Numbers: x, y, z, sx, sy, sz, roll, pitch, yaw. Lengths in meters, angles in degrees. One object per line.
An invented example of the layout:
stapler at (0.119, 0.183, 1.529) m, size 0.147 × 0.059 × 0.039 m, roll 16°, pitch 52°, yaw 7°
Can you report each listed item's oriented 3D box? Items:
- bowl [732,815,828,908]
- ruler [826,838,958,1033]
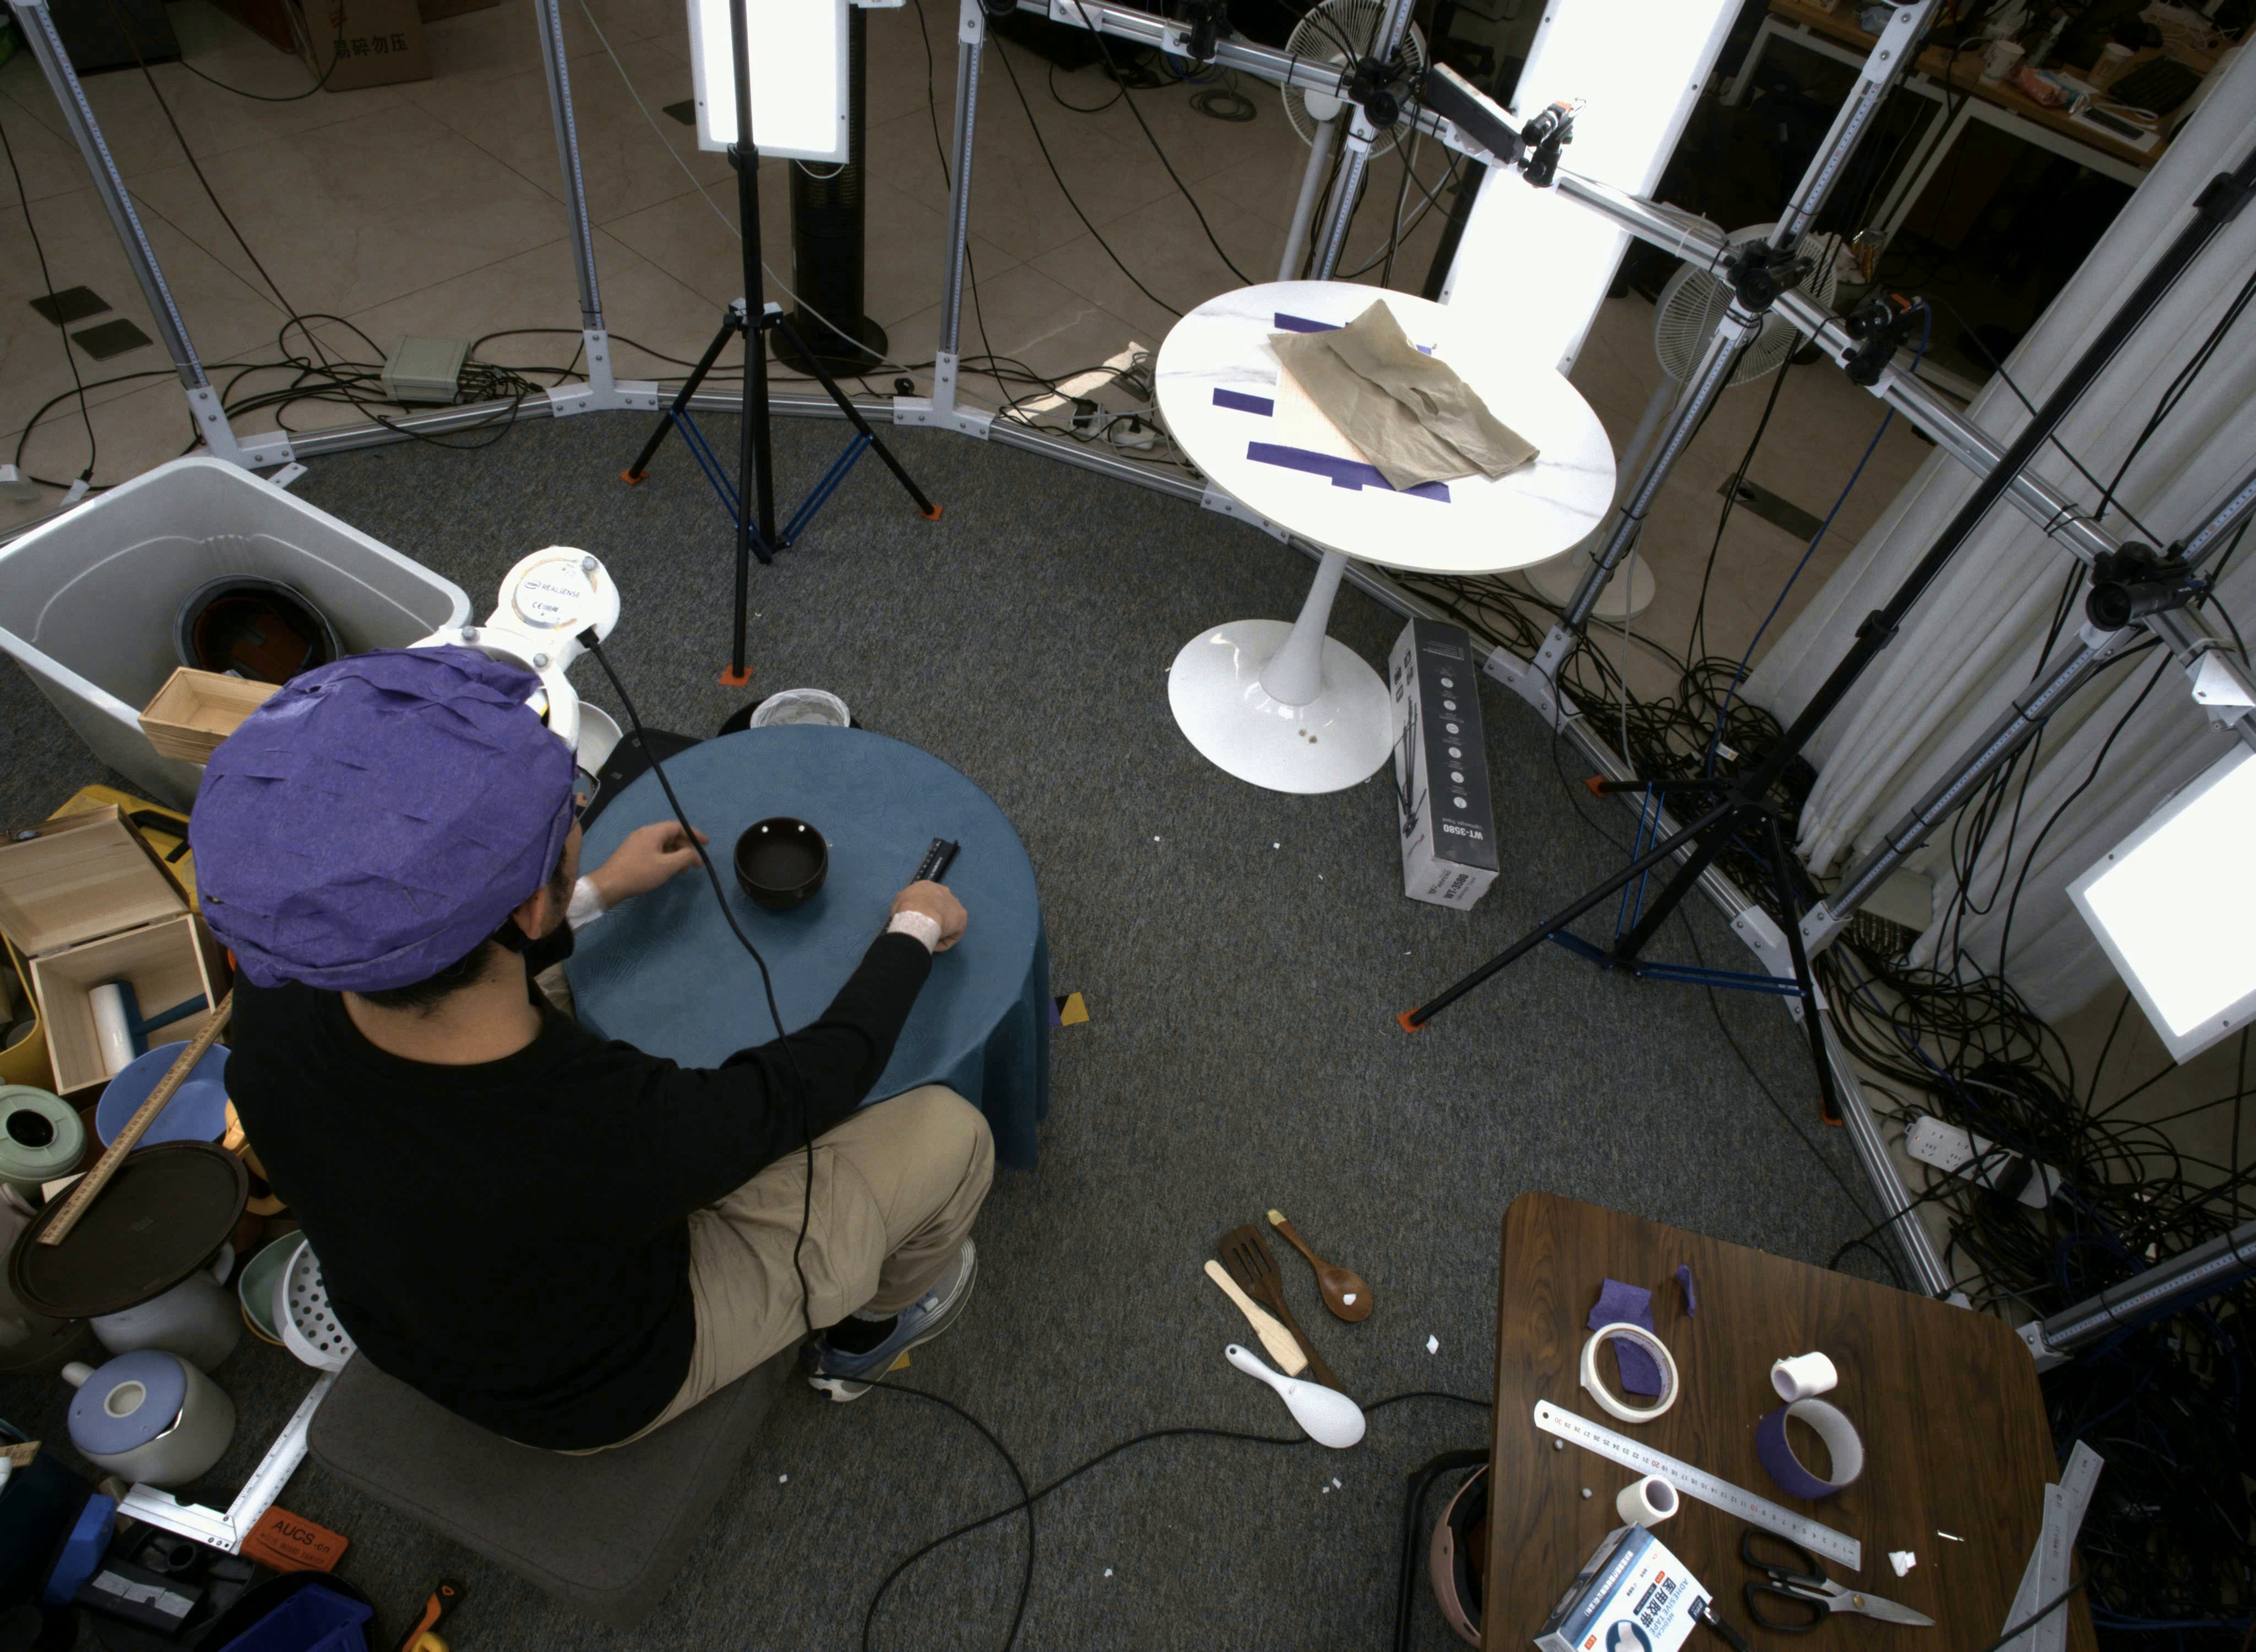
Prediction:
bowl at (-0.437, 0.052, 1.629) m, size 0.118 × 0.071 × 0.116 m, roll 7°, pitch 51°, yaw -8°
ruler at (-0.295, 0.125, 1.649) m, size 0.038 × 0.017 × 0.310 m, roll 21°, pitch 52°, yaw 7°
